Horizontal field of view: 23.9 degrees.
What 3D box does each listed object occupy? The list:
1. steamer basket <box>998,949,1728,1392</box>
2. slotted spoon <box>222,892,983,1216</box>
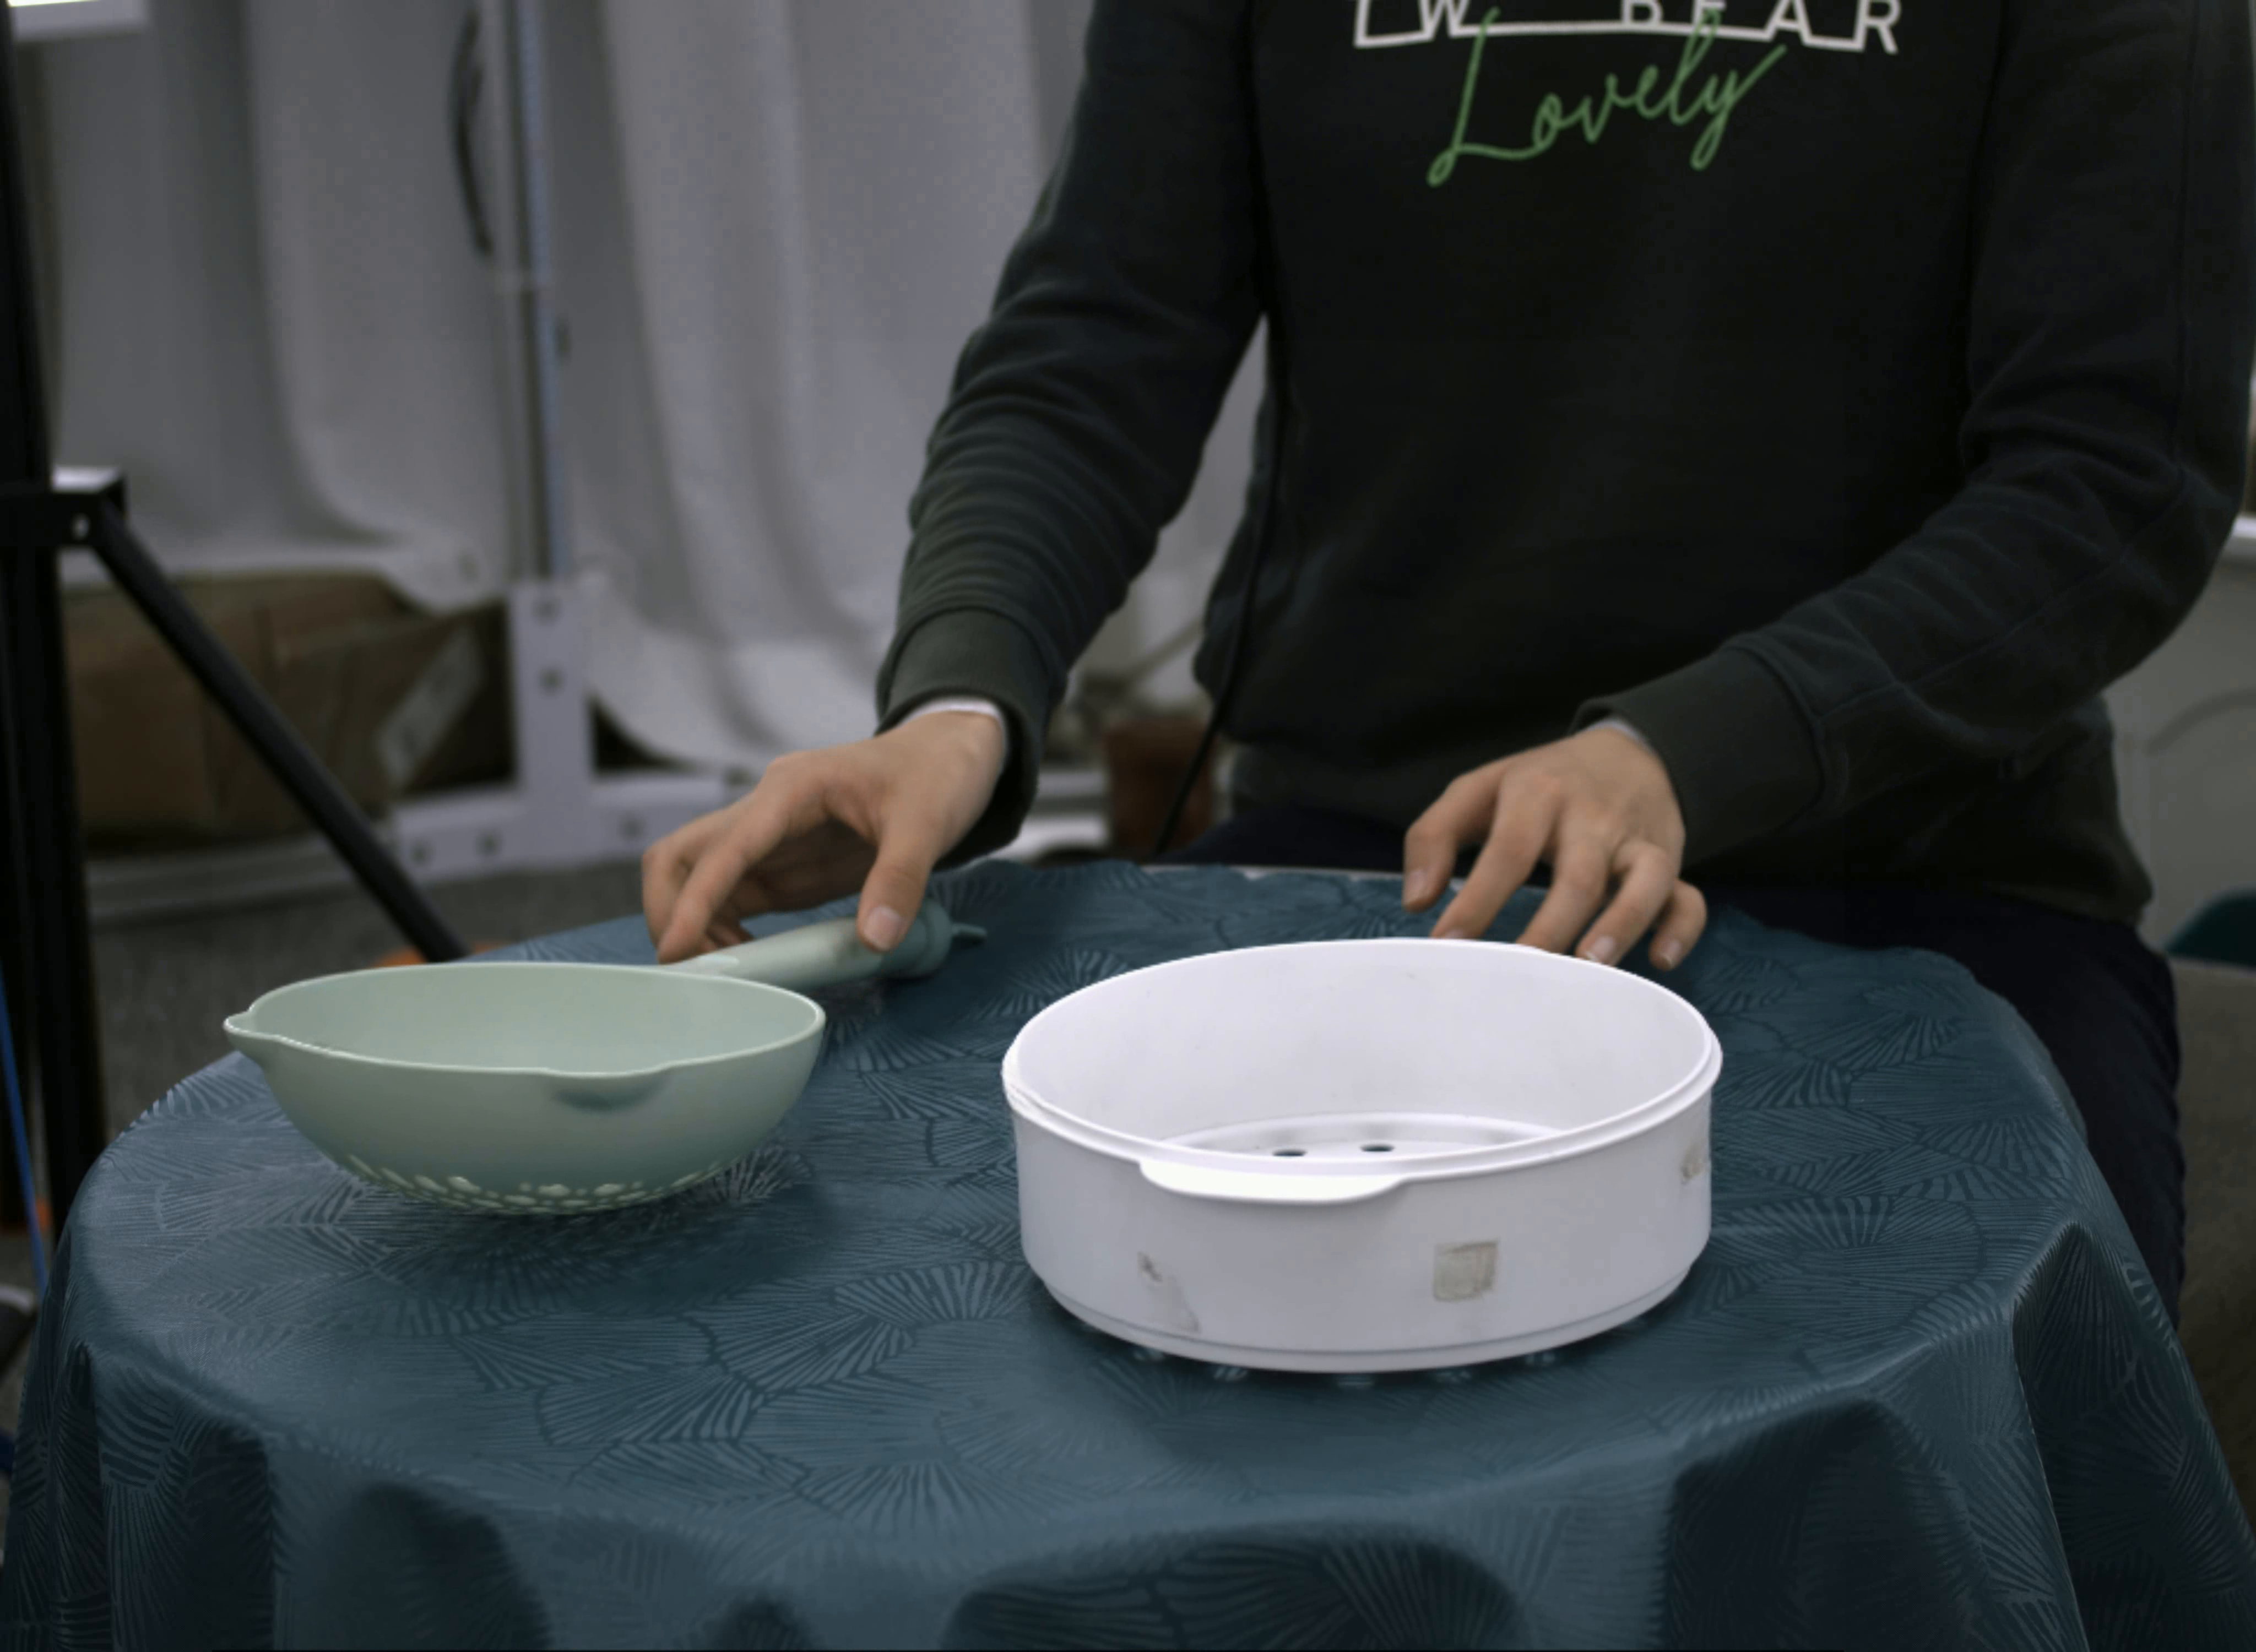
[{"bbox_3d":[0.065,0.095,1.474,0.204,0.069,0.228,3,17,17],"label":"steamer basket"},{"bbox_3d":[-0.132,0.055,1.650,0.172,0.075,0.353,6,18,25],"label":"slotted spoon"}]
